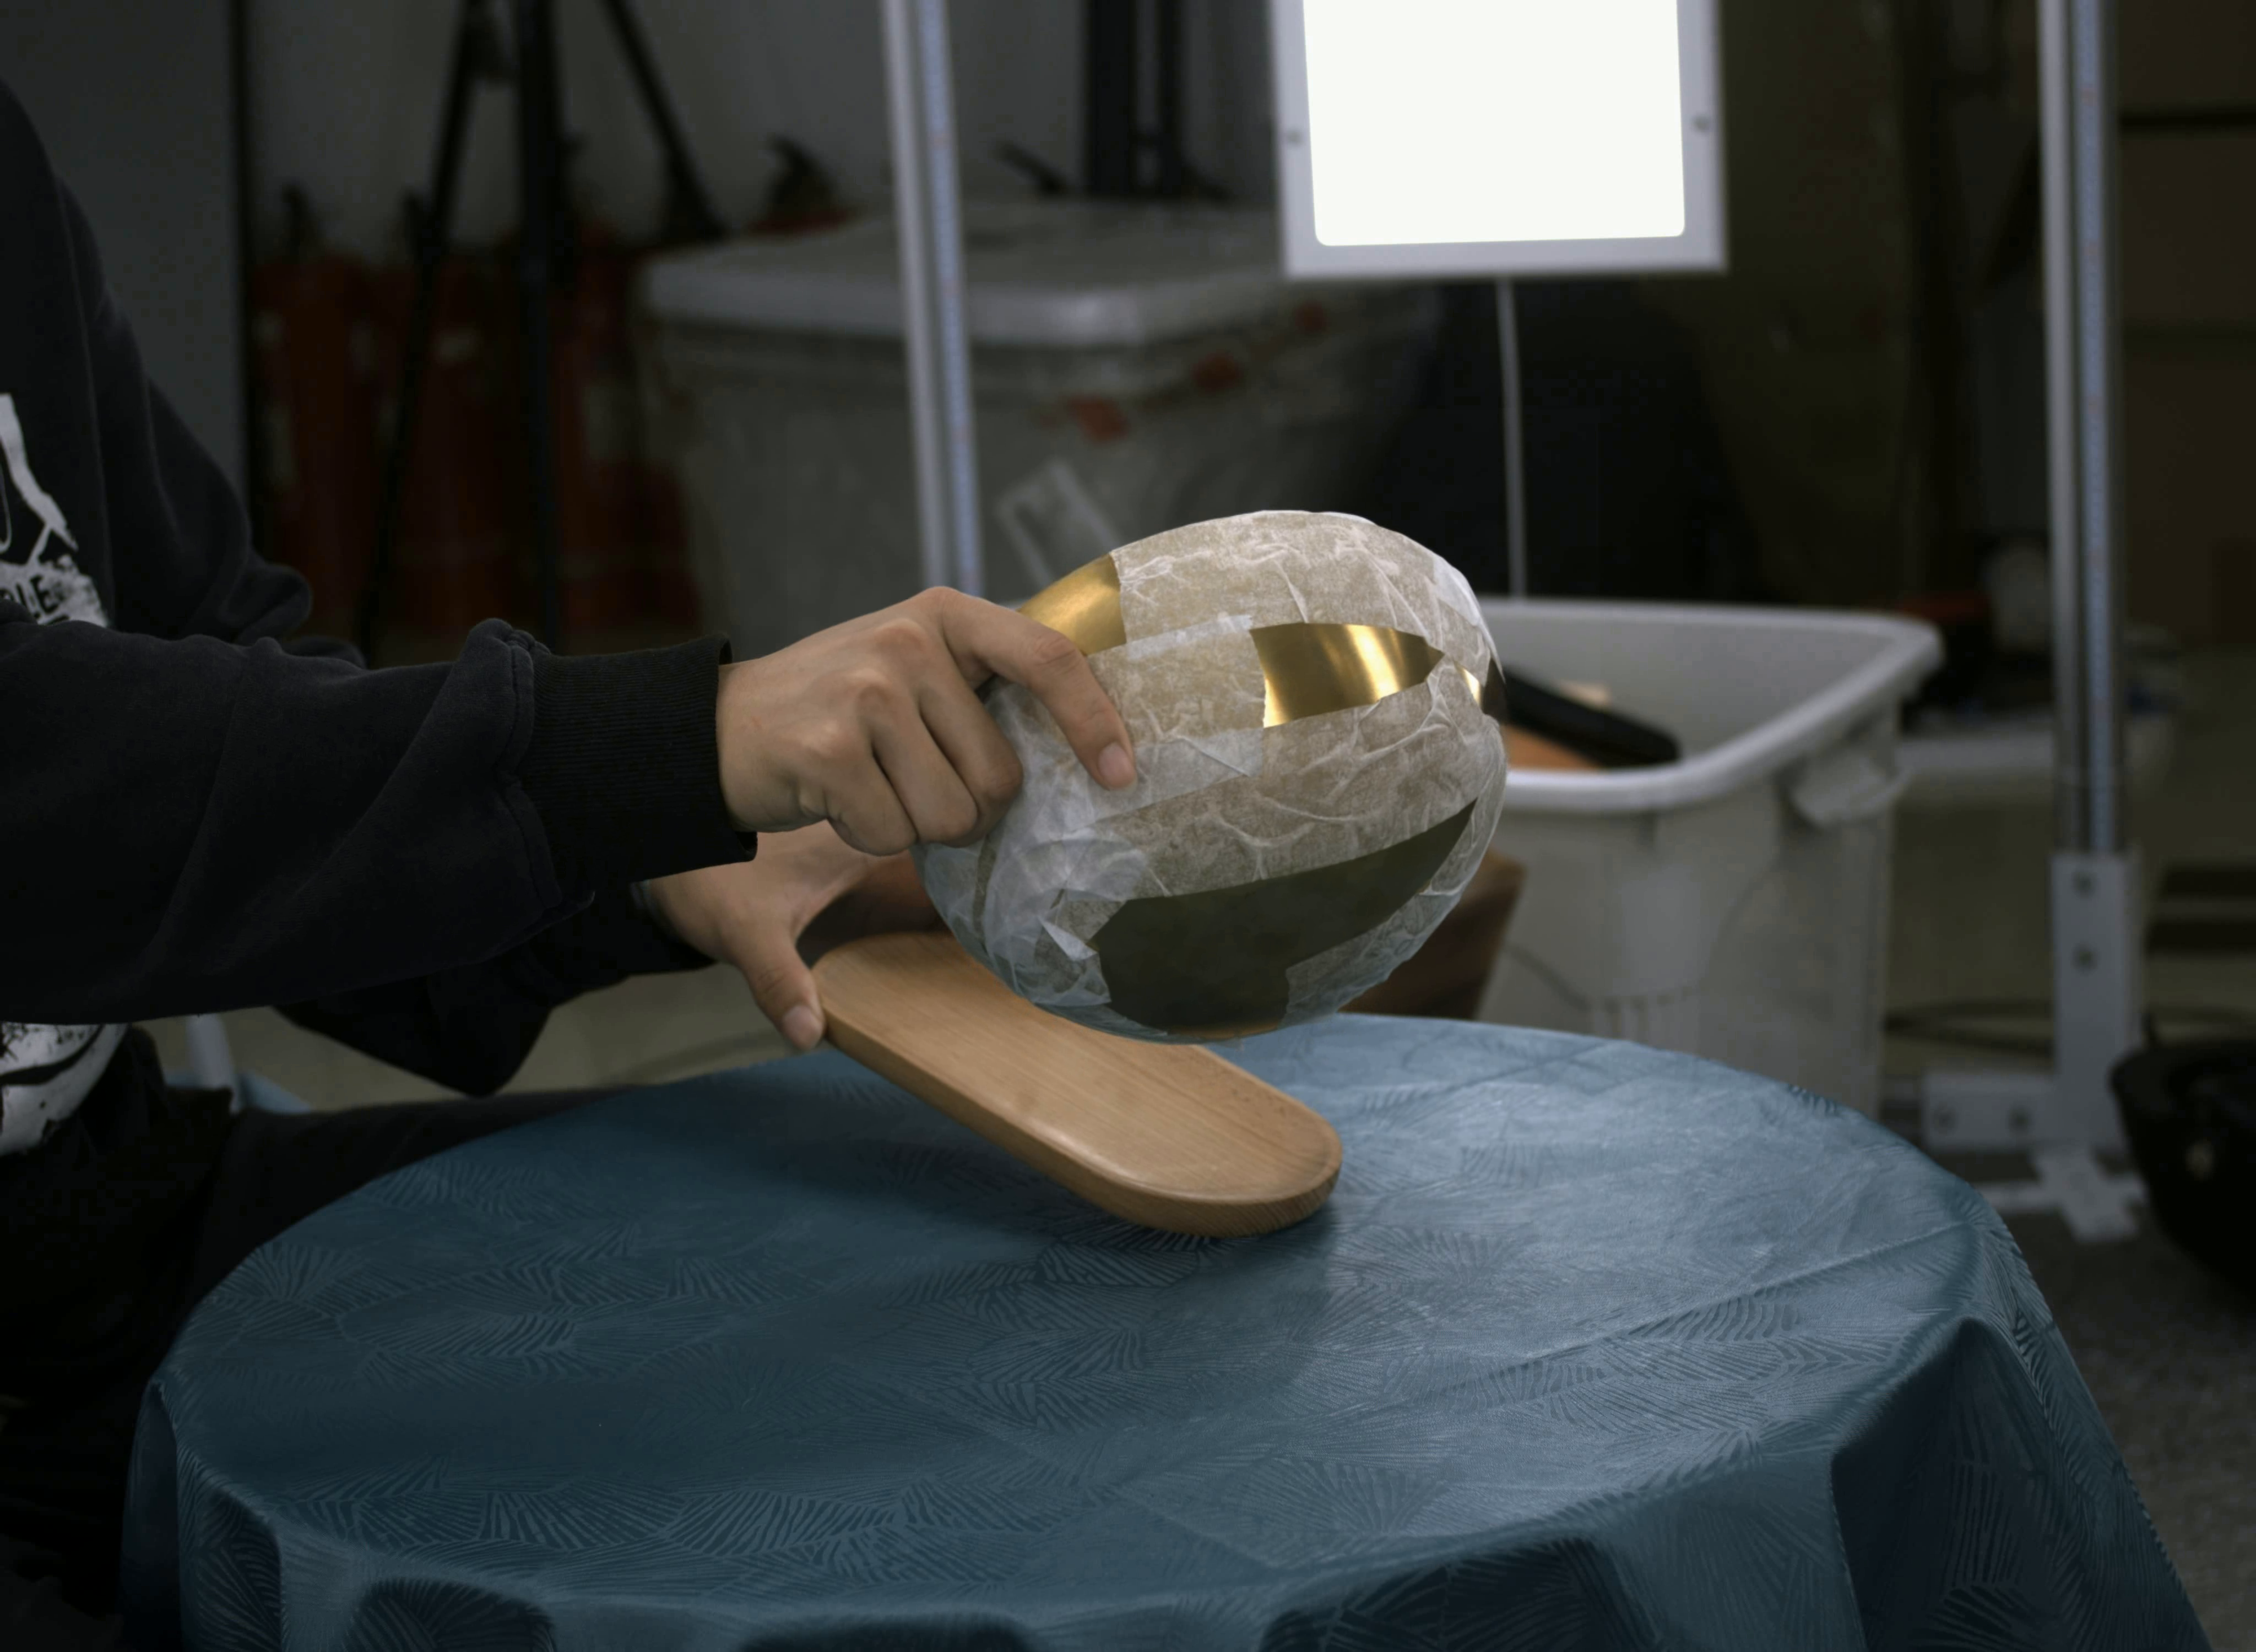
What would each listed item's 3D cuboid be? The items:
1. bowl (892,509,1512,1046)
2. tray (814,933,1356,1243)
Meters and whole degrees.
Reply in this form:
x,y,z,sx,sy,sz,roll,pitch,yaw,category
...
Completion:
x,y,z,sx,sy,sz,roll,pitch,yaw,category
0.035,0.006,1.745,0.211,0.217,0.095,-8,49,-16,bowl
-0.018,0.090,1.917,0.099,0.020,0.235,-17,34,-39,tray
